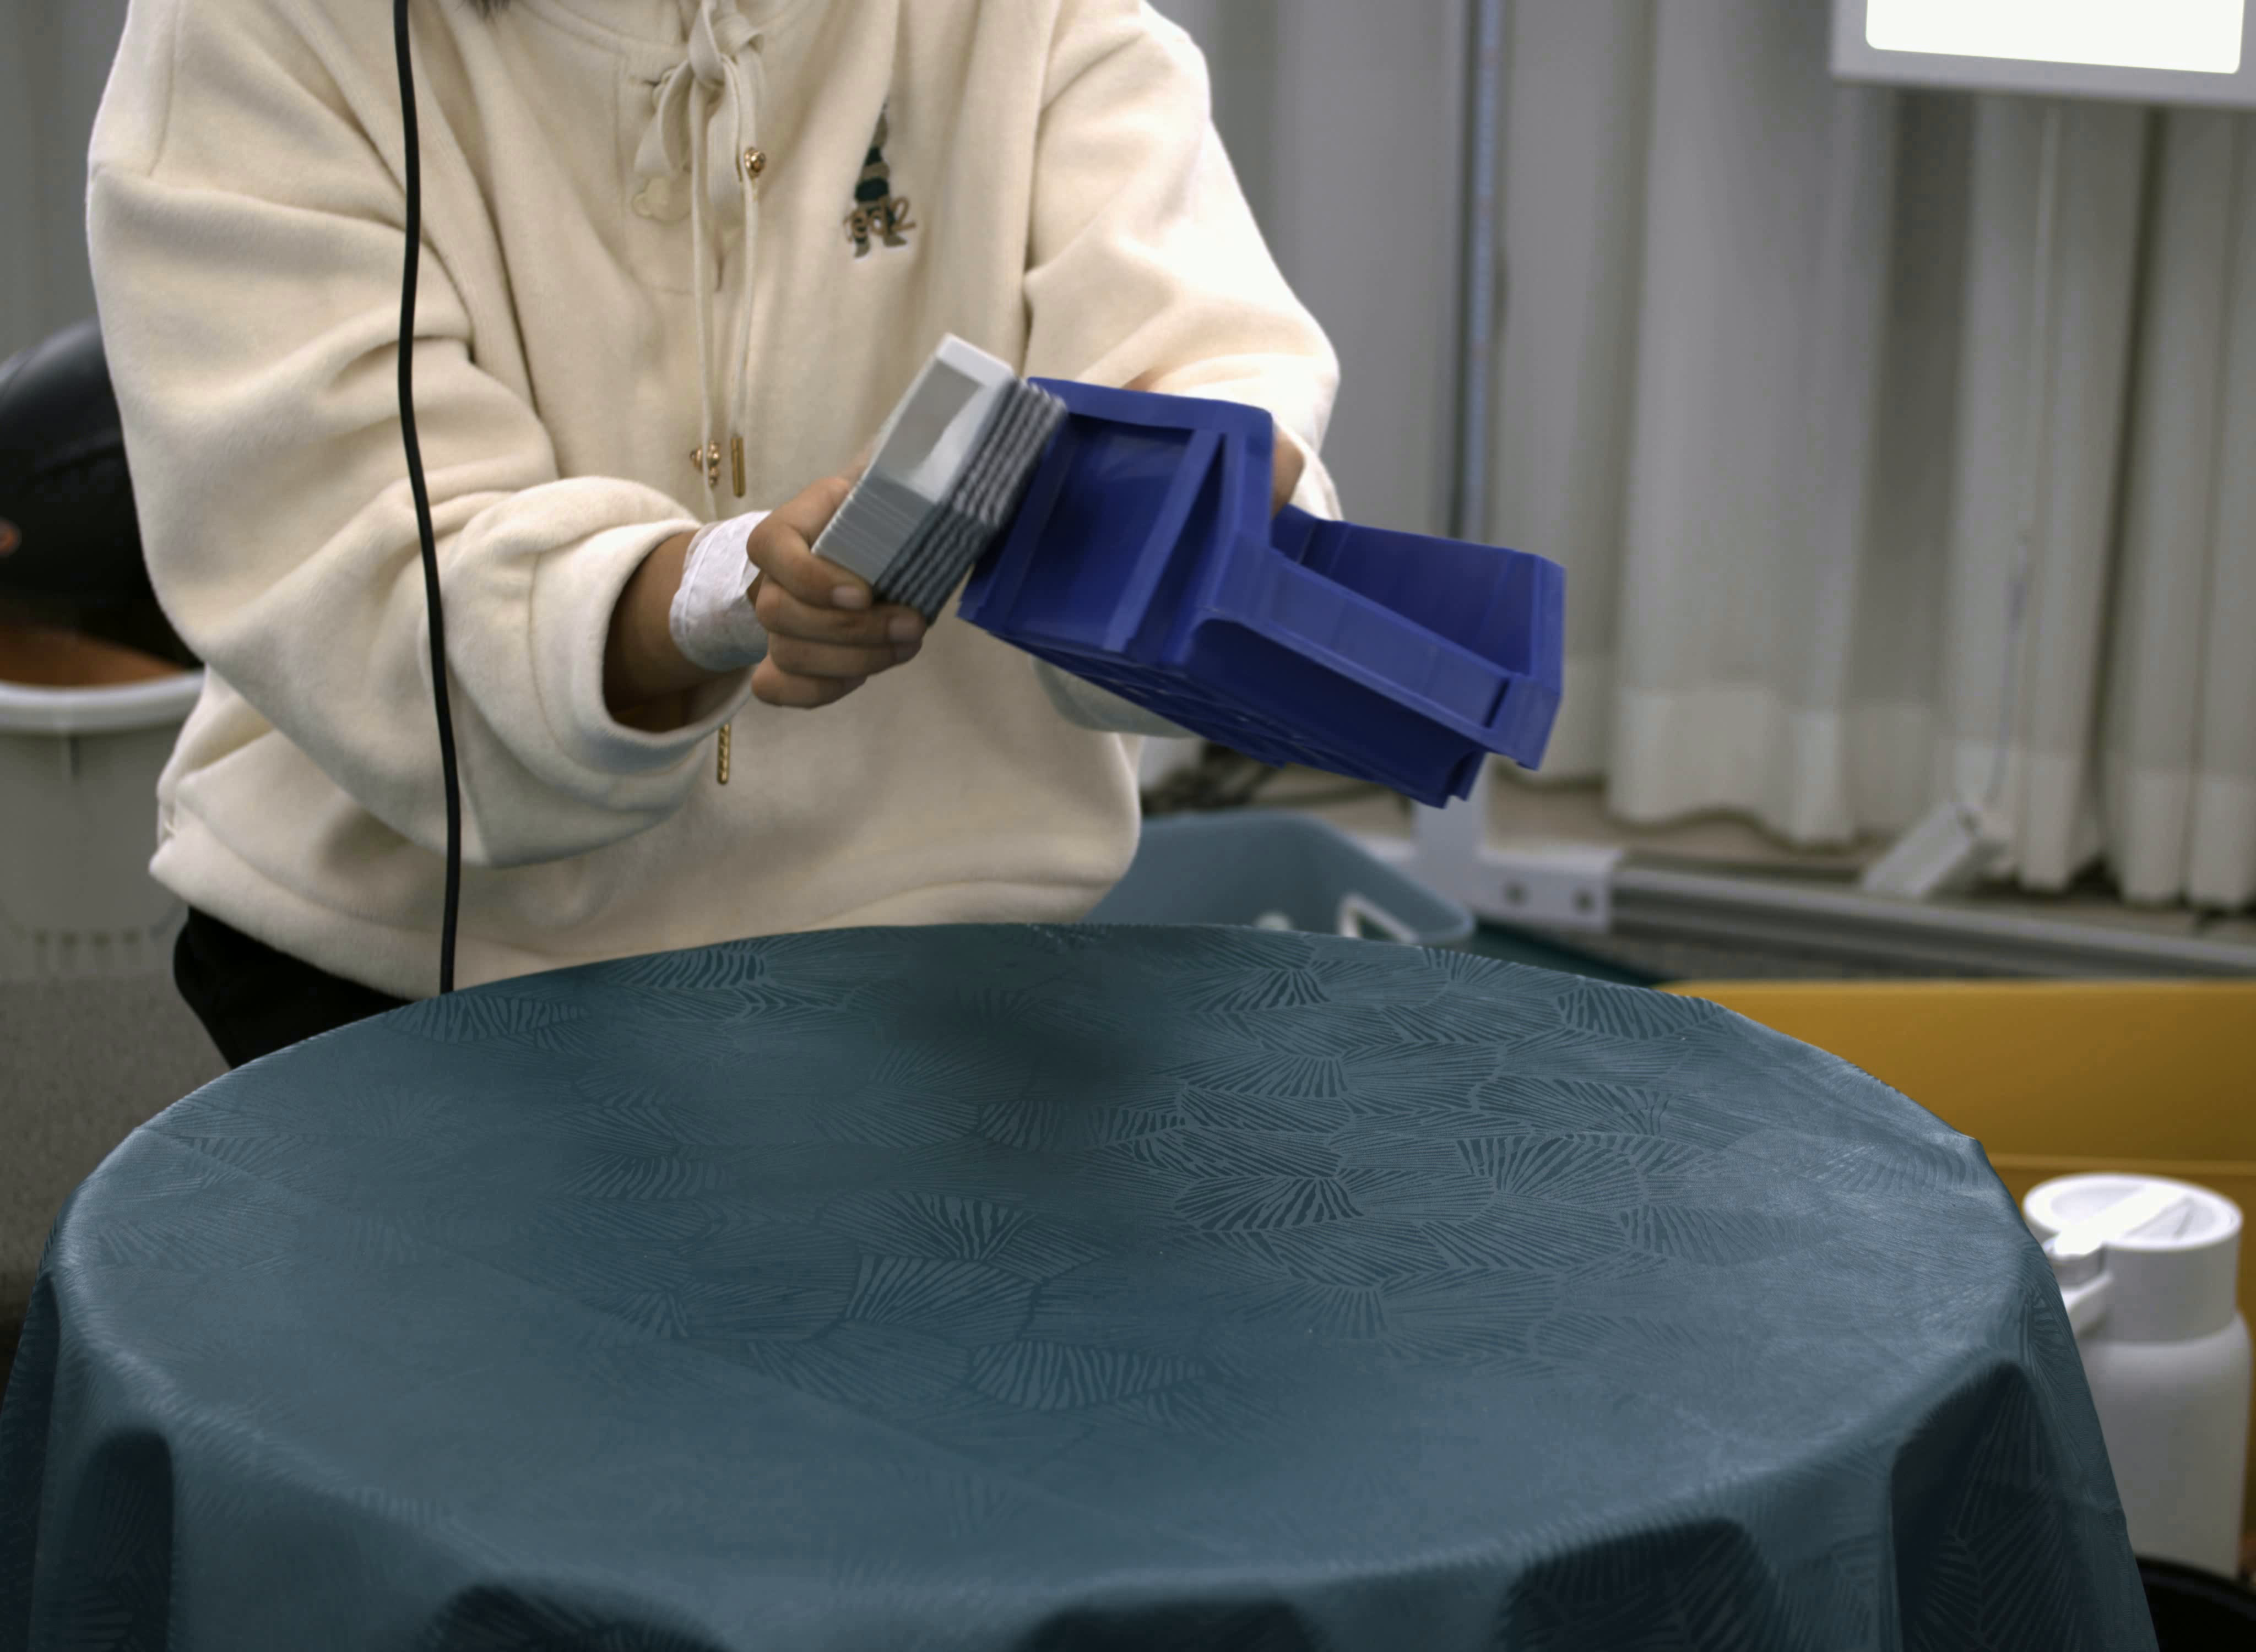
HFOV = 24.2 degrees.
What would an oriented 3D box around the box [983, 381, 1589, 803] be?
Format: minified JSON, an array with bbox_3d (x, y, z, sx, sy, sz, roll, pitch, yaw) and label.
[{"bbox_3d":[0.049,-0.069,1.567,0.125,0.082,0.177,25,-6,-26],"label":"box"}]

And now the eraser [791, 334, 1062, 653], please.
[{"bbox_3d":[-0.062,-0.100,1.613,0.046,0.049,0.134,30,-20,-7],"label":"eraser"}]
